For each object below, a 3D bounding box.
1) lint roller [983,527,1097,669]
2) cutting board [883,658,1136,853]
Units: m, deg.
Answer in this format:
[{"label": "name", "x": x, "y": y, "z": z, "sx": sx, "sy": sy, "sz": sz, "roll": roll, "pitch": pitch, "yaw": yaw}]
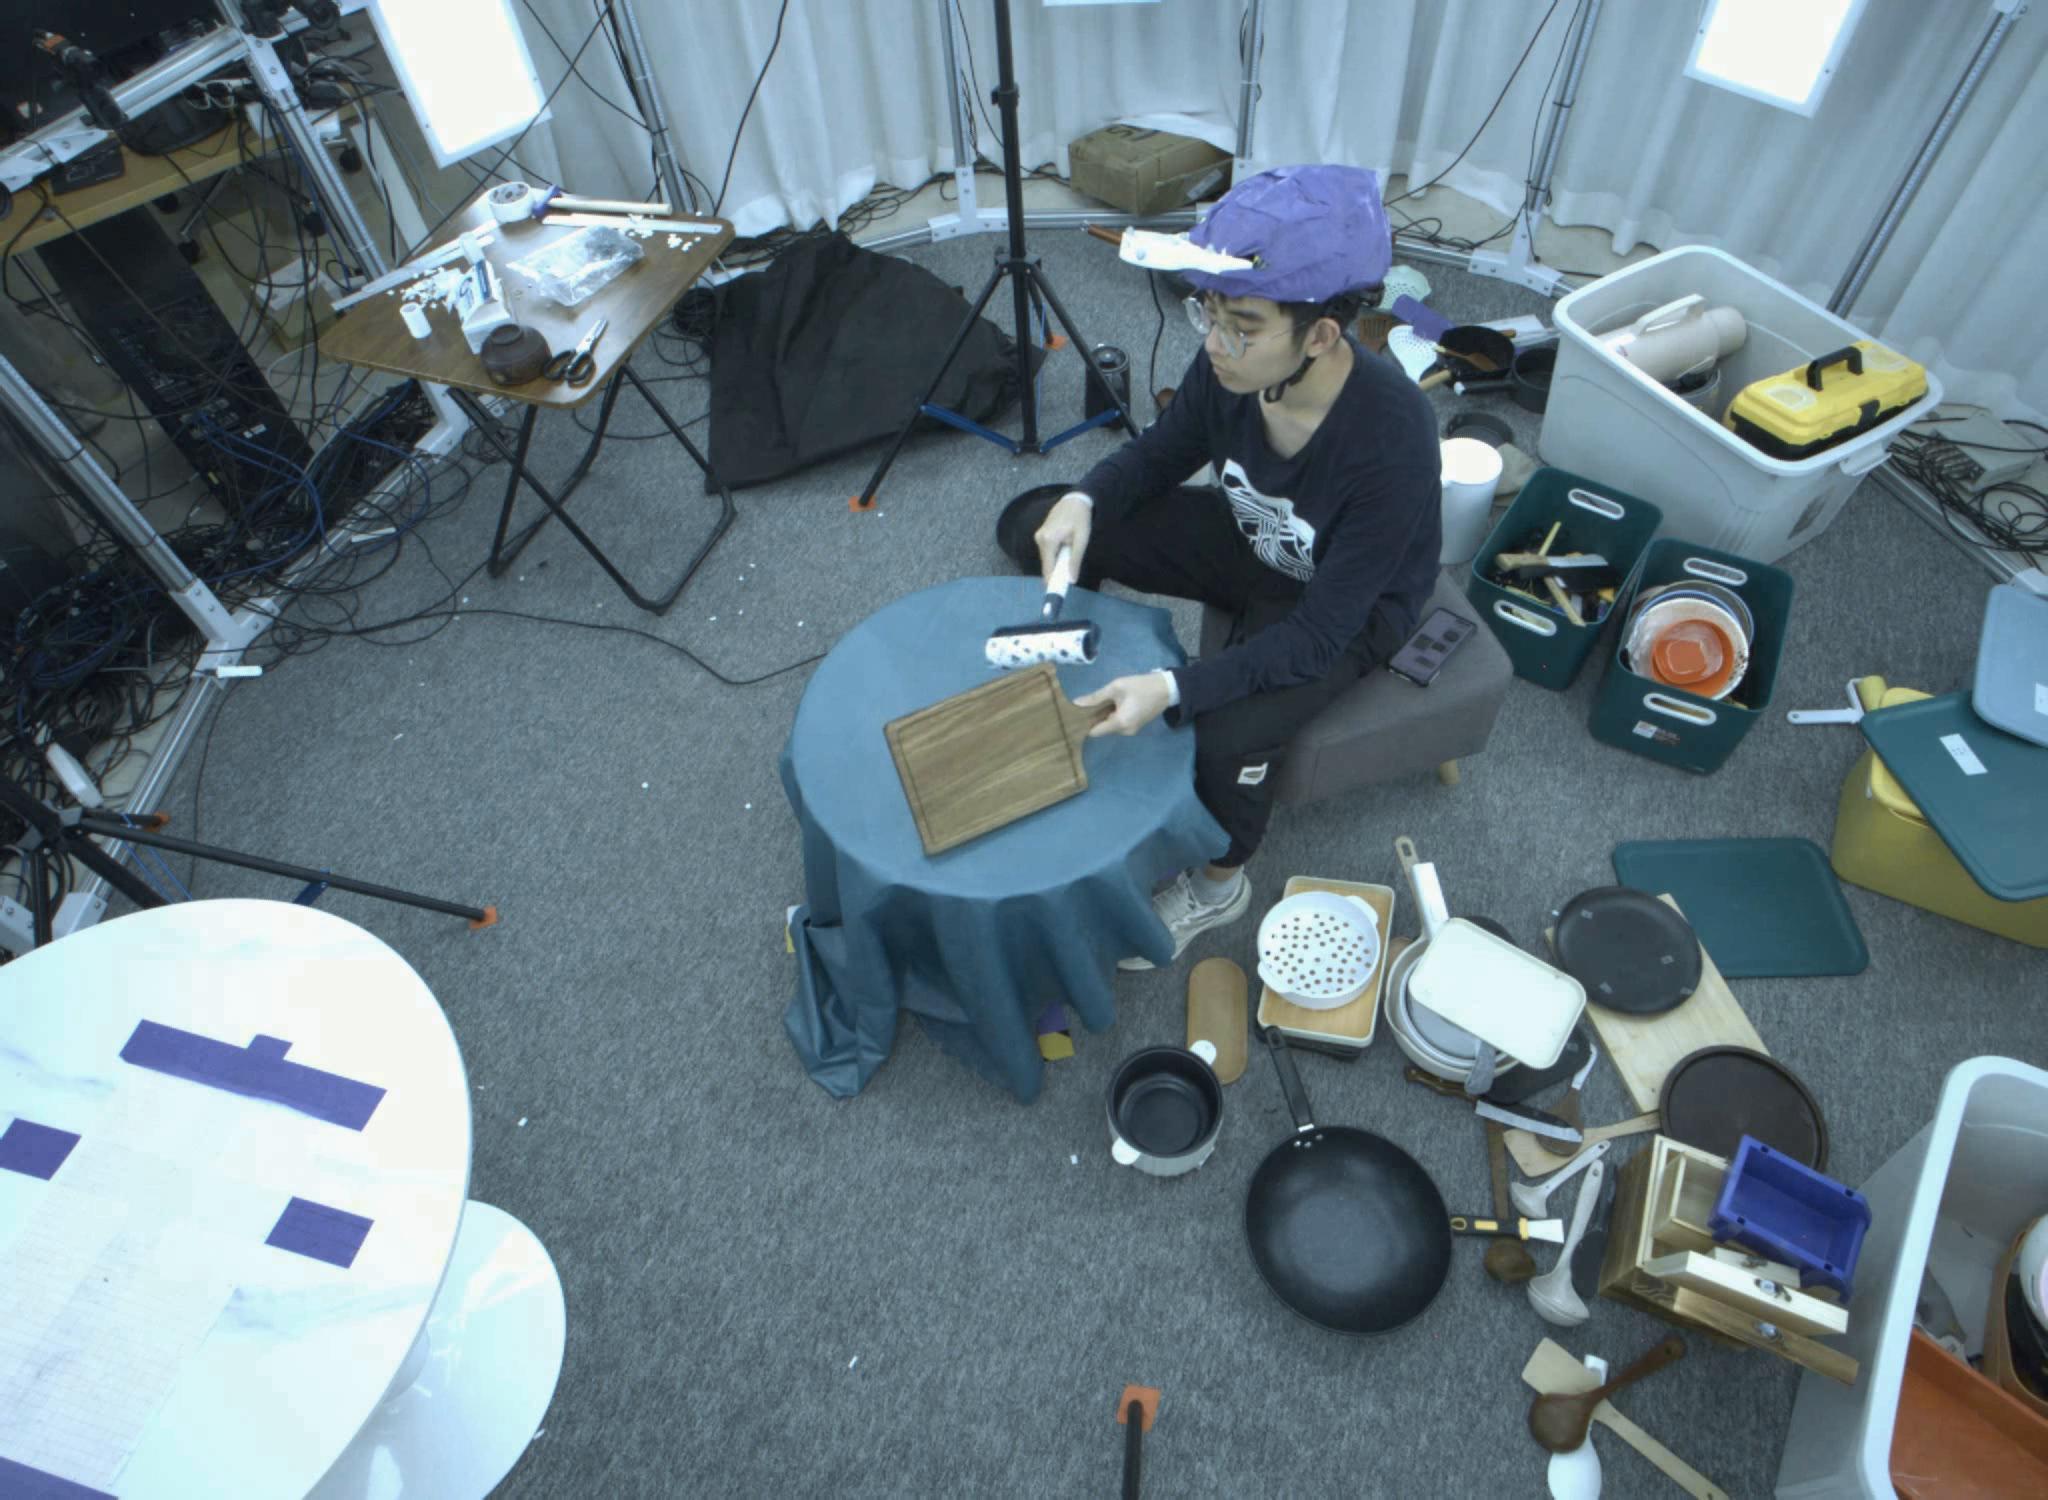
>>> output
[{"label": "lint roller", "x": 0.041, "y": -0.234, "z": 1.812, "sx": 0.173, "sy": 0.051, "sz": 0.246, "roll": -4, "pitch": 60, "yaw": 32}, {"label": "cutting board", "x": -0.003, "y": -0.010, "z": 1.694, "sx": 0.355, "sy": 0.203, "sz": 0.023, "roll": -23, "pitch": 23, "yaw": -16}]
